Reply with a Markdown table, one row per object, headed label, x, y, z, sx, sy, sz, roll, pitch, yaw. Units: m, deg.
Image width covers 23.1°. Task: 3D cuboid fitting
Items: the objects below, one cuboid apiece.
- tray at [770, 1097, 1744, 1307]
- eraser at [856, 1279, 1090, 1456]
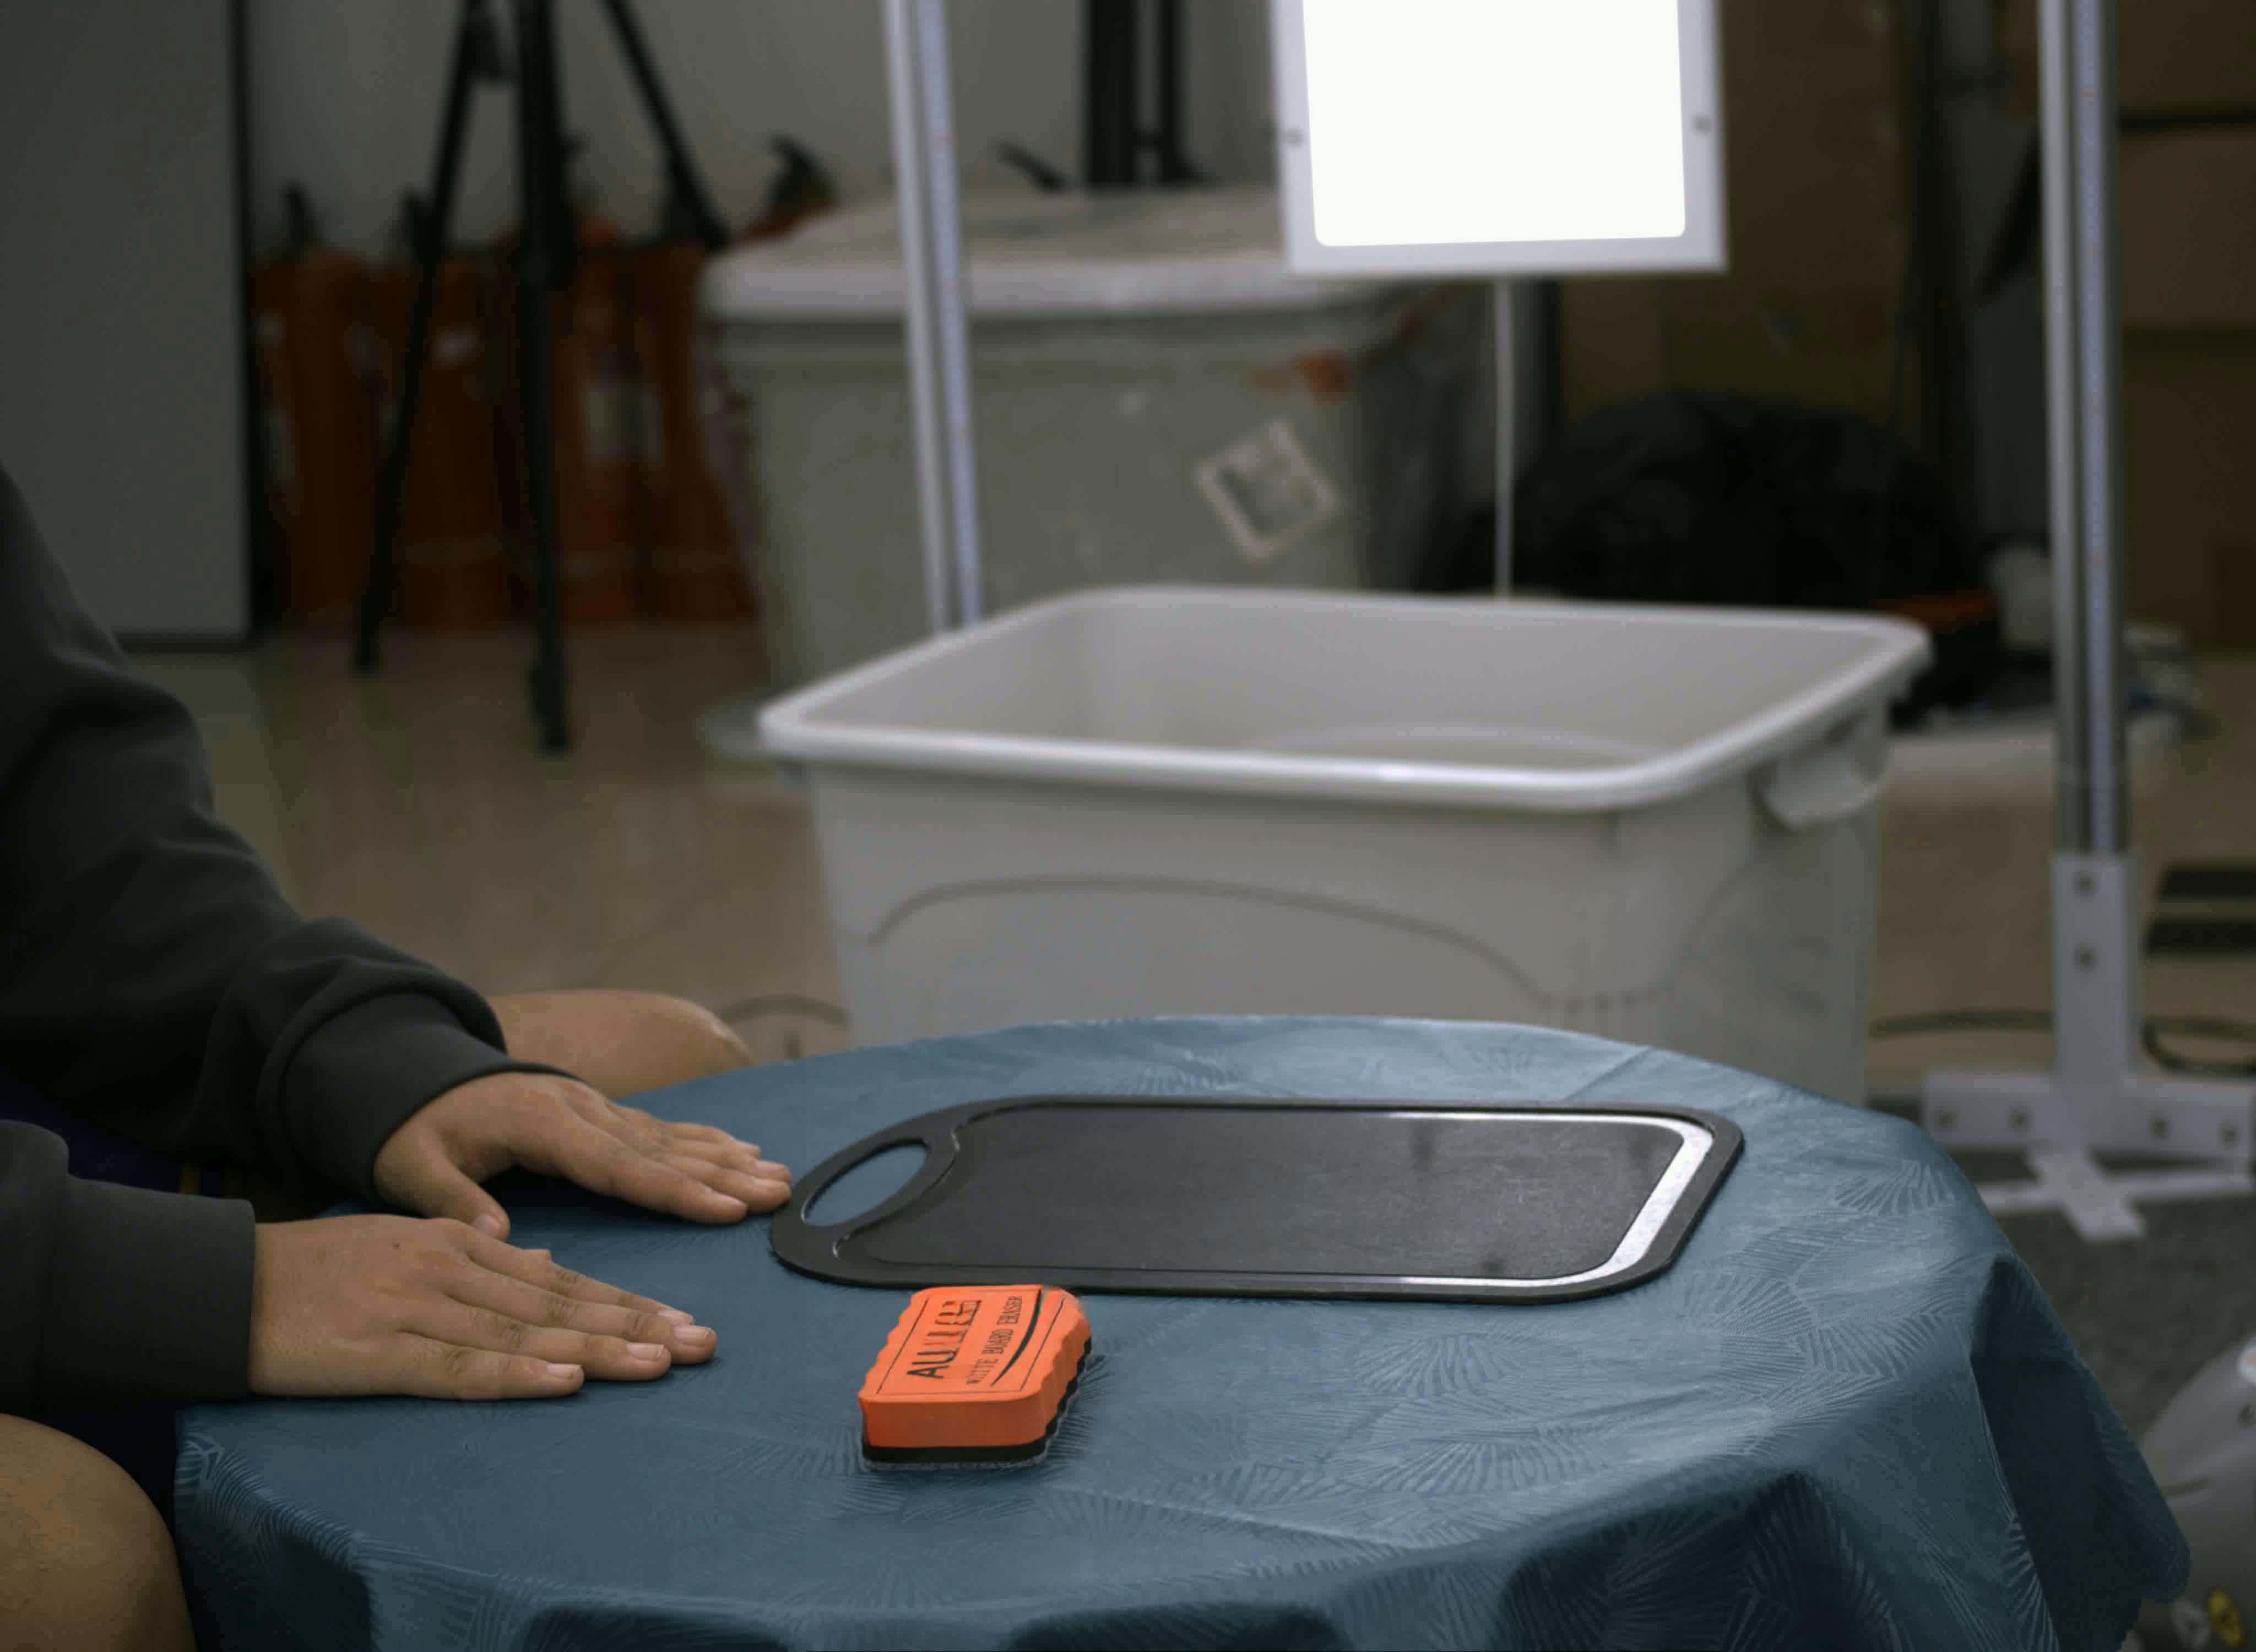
| label | x | y | z | sx | sy | sz | roll | pitch | yaw |
| --- | --- | --- | --- | --- | --- | --- | --- | --- | --- |
| tray | 0.039 | 0.124 | 1.880 | 0.329 | 0.010 | 0.207 | 0 | 14 | 20 |
| eraser | -0.046 | 0.165 | 1.693 | 0.059 | 0.023 | 0.107 | -2 | 13 | 10 |
